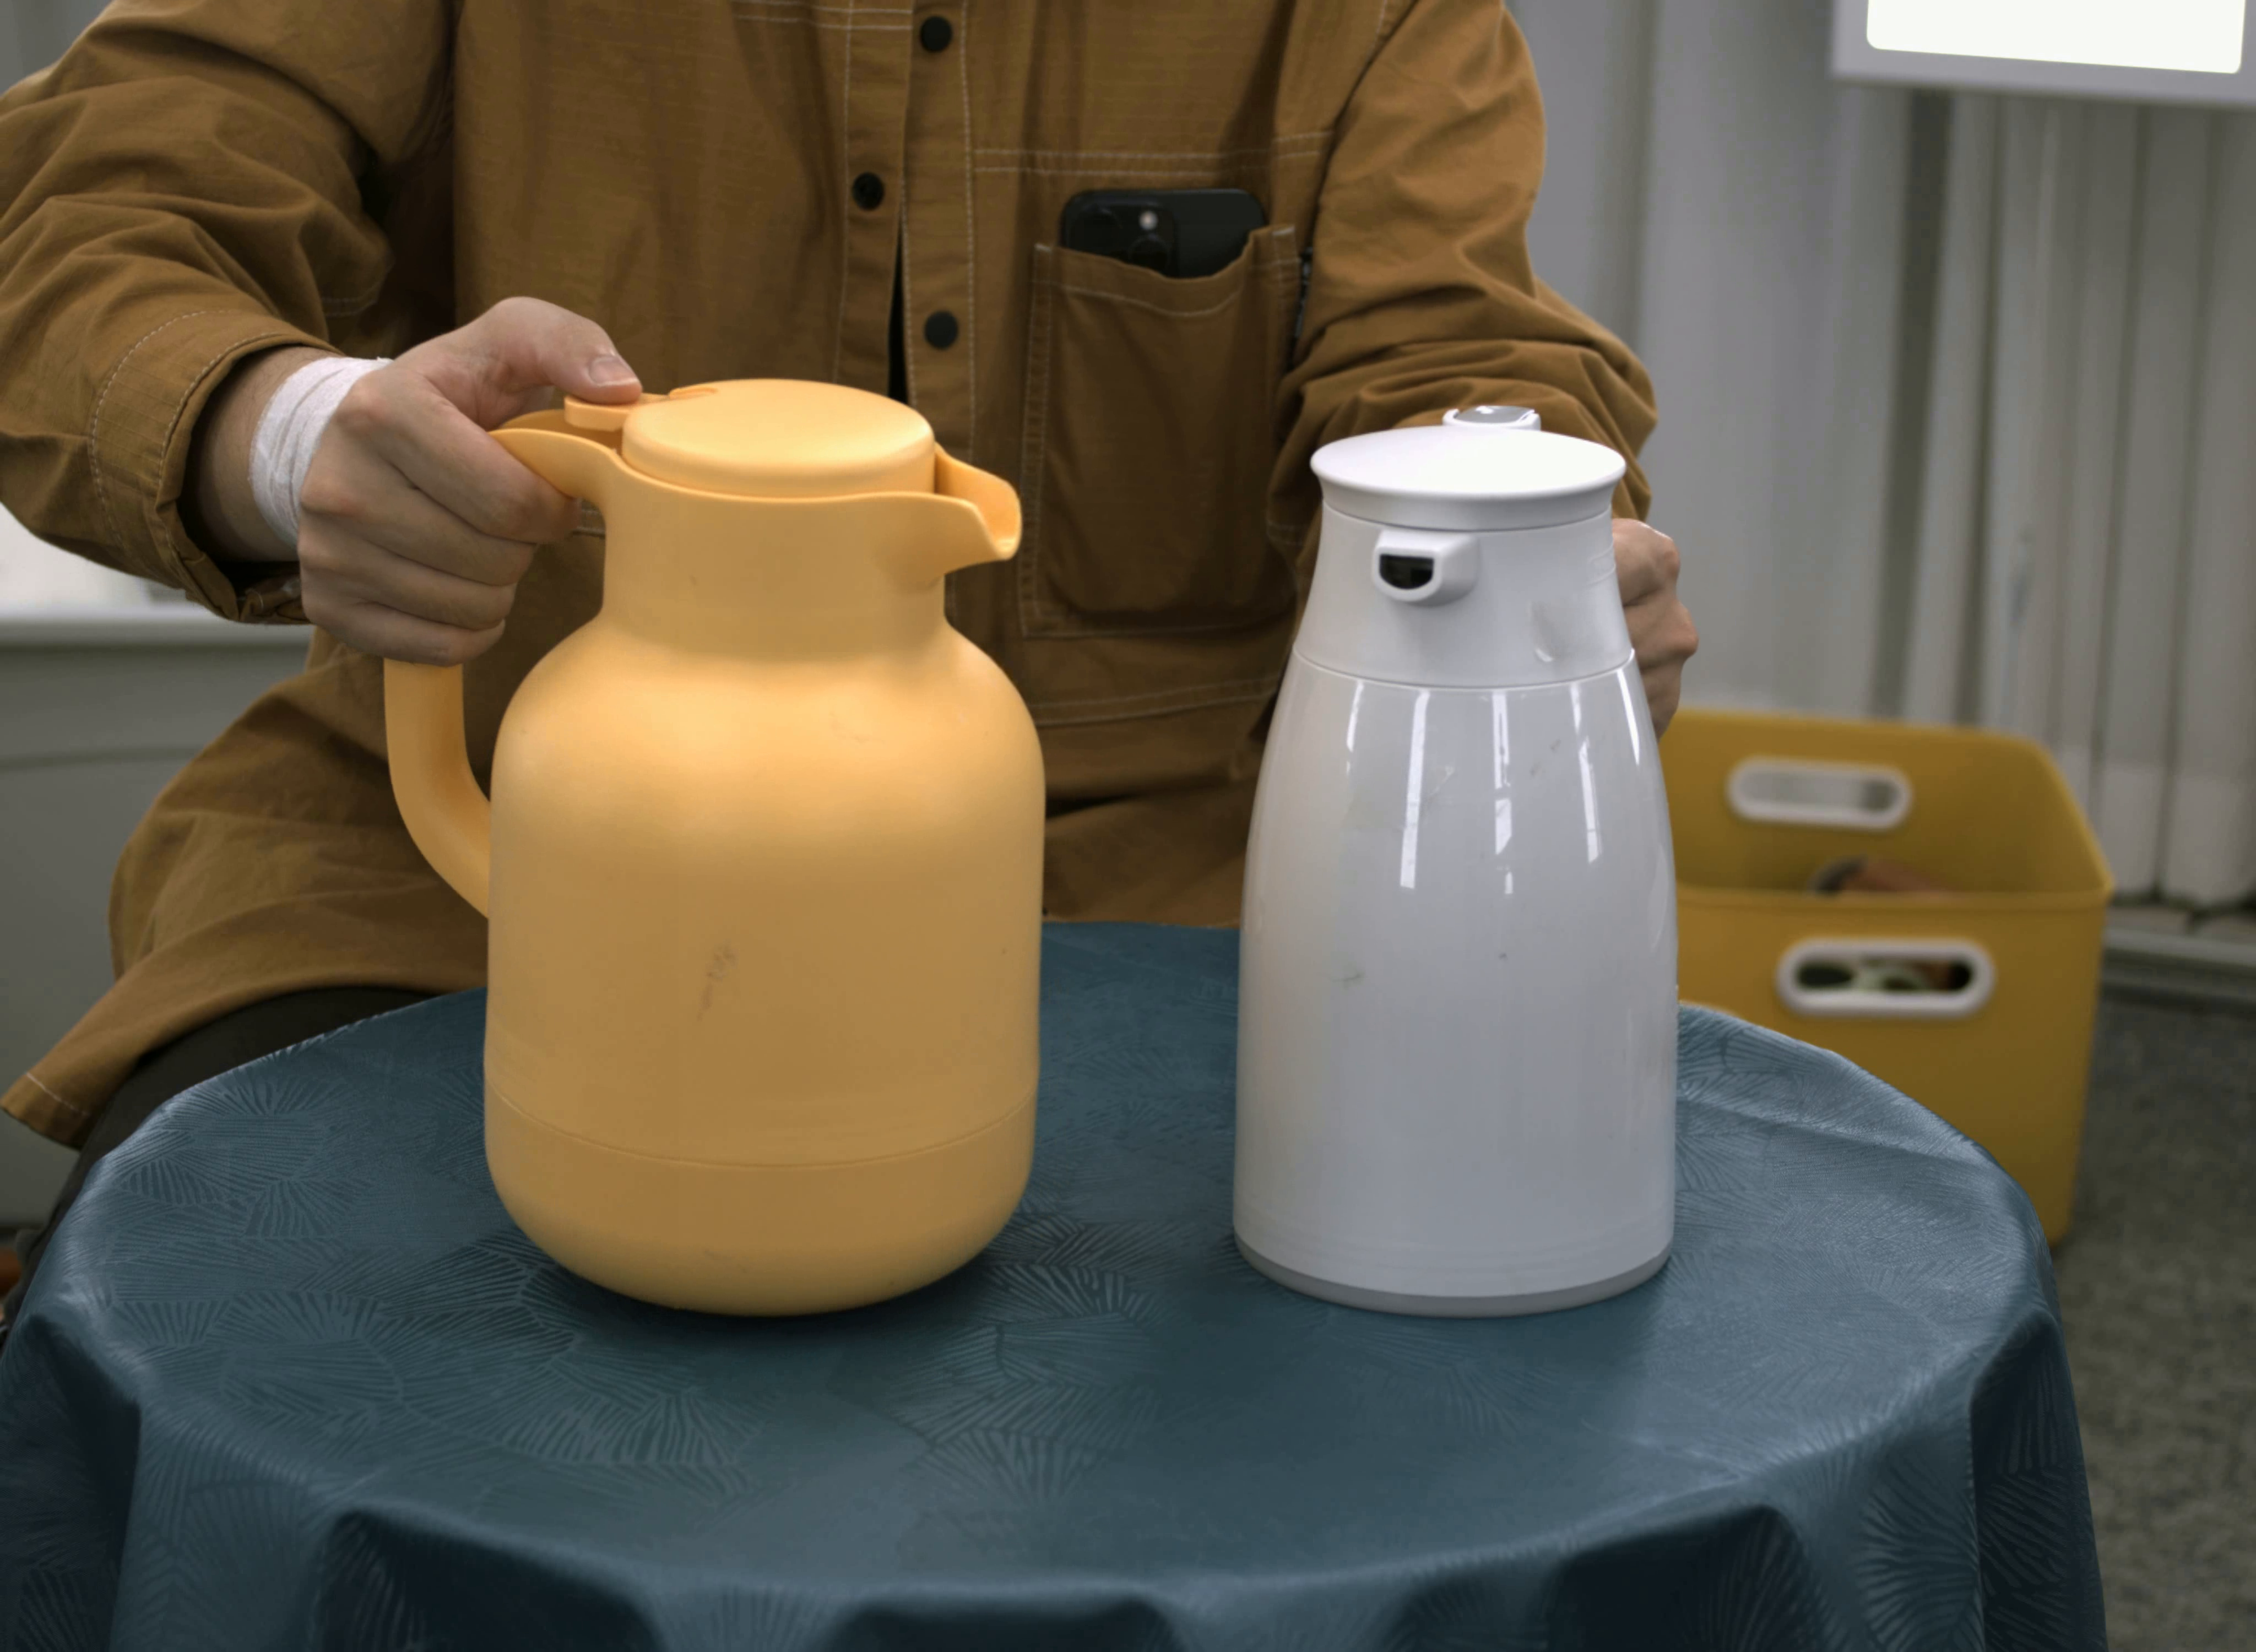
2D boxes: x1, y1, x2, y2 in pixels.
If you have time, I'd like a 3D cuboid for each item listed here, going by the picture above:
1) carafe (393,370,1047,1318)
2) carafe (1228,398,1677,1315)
[{"bbox_3d":[-0.121,-0.003,1.528,0.200,0.262,0.164,13,20,23],"label":"carafe"},{"bbox_3d":[0.102,0.000,1.564,0.131,0.250,0.168,5,16,17],"label":"carafe"}]
